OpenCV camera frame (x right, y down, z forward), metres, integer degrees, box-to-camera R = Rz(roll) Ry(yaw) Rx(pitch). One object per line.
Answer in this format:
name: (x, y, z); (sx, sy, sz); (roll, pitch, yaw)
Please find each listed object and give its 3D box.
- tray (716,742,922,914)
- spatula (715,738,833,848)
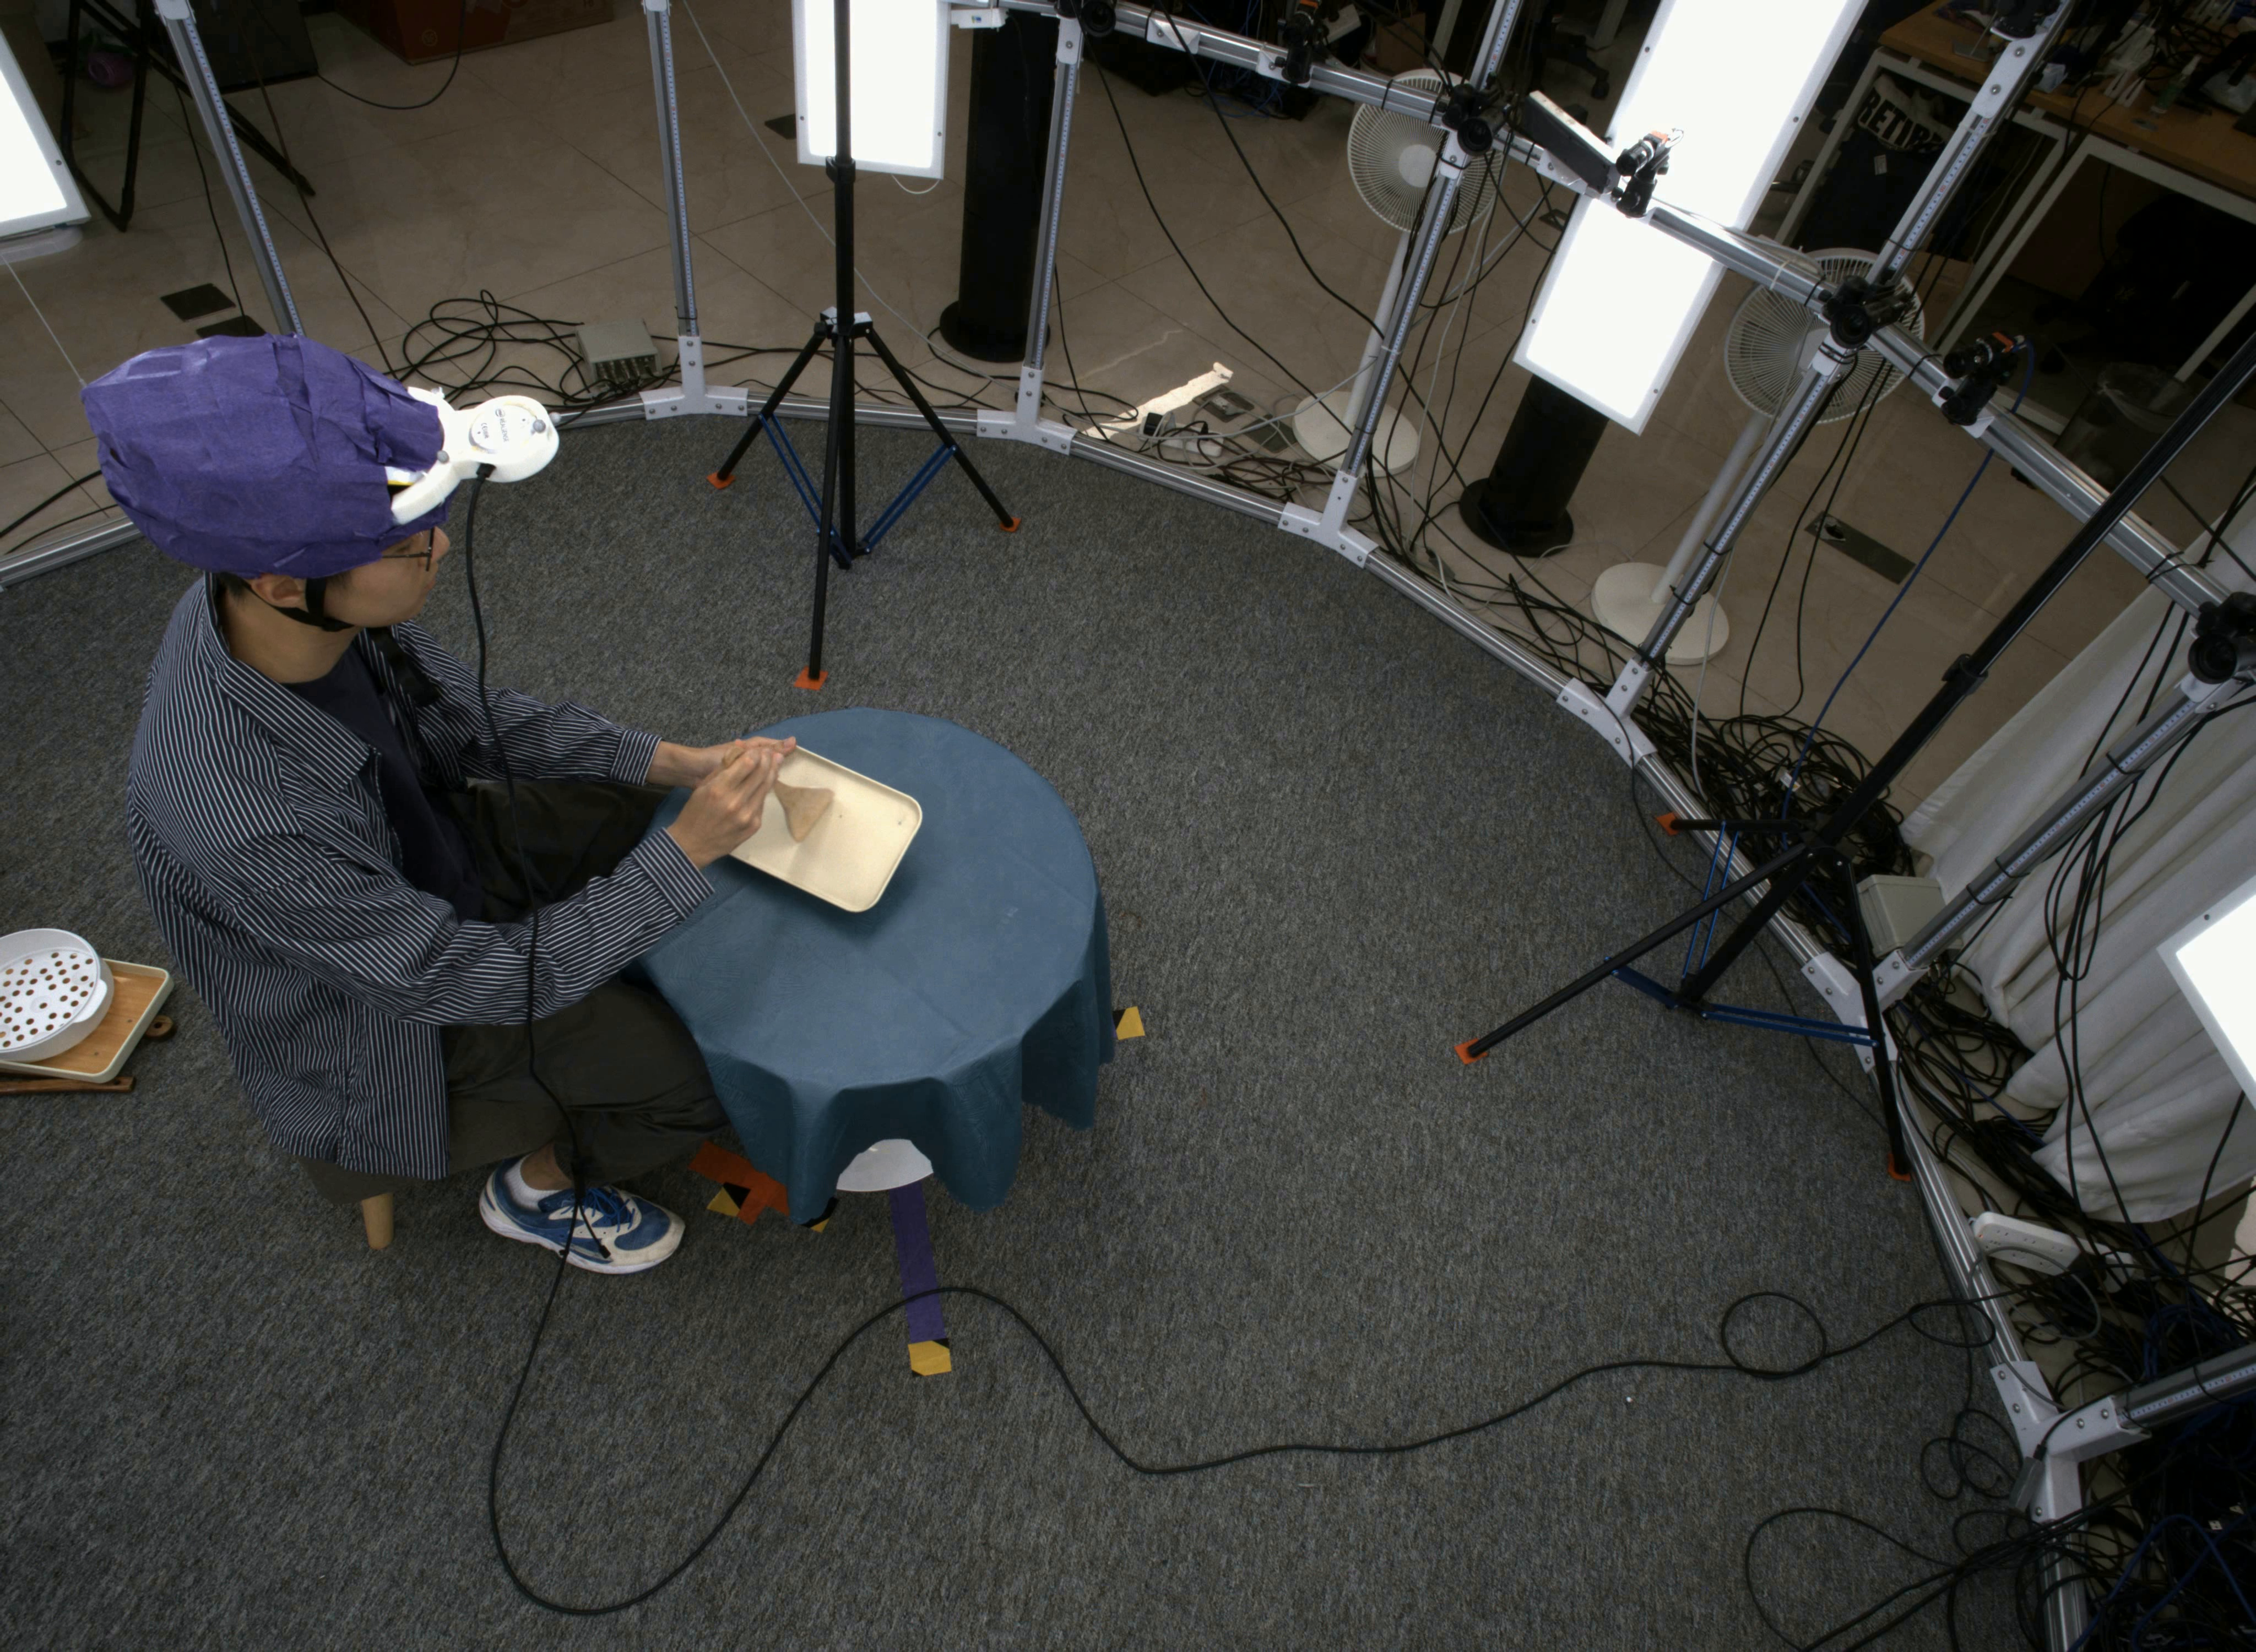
tray: (-0.398, 0.001, 1.674); (0.236, 0.018, 0.171); (24, 72, 6)
spatula: (-0.416, -0.044, 1.522); (0.016, 0.333, 0.080); (28, 80, 13)
